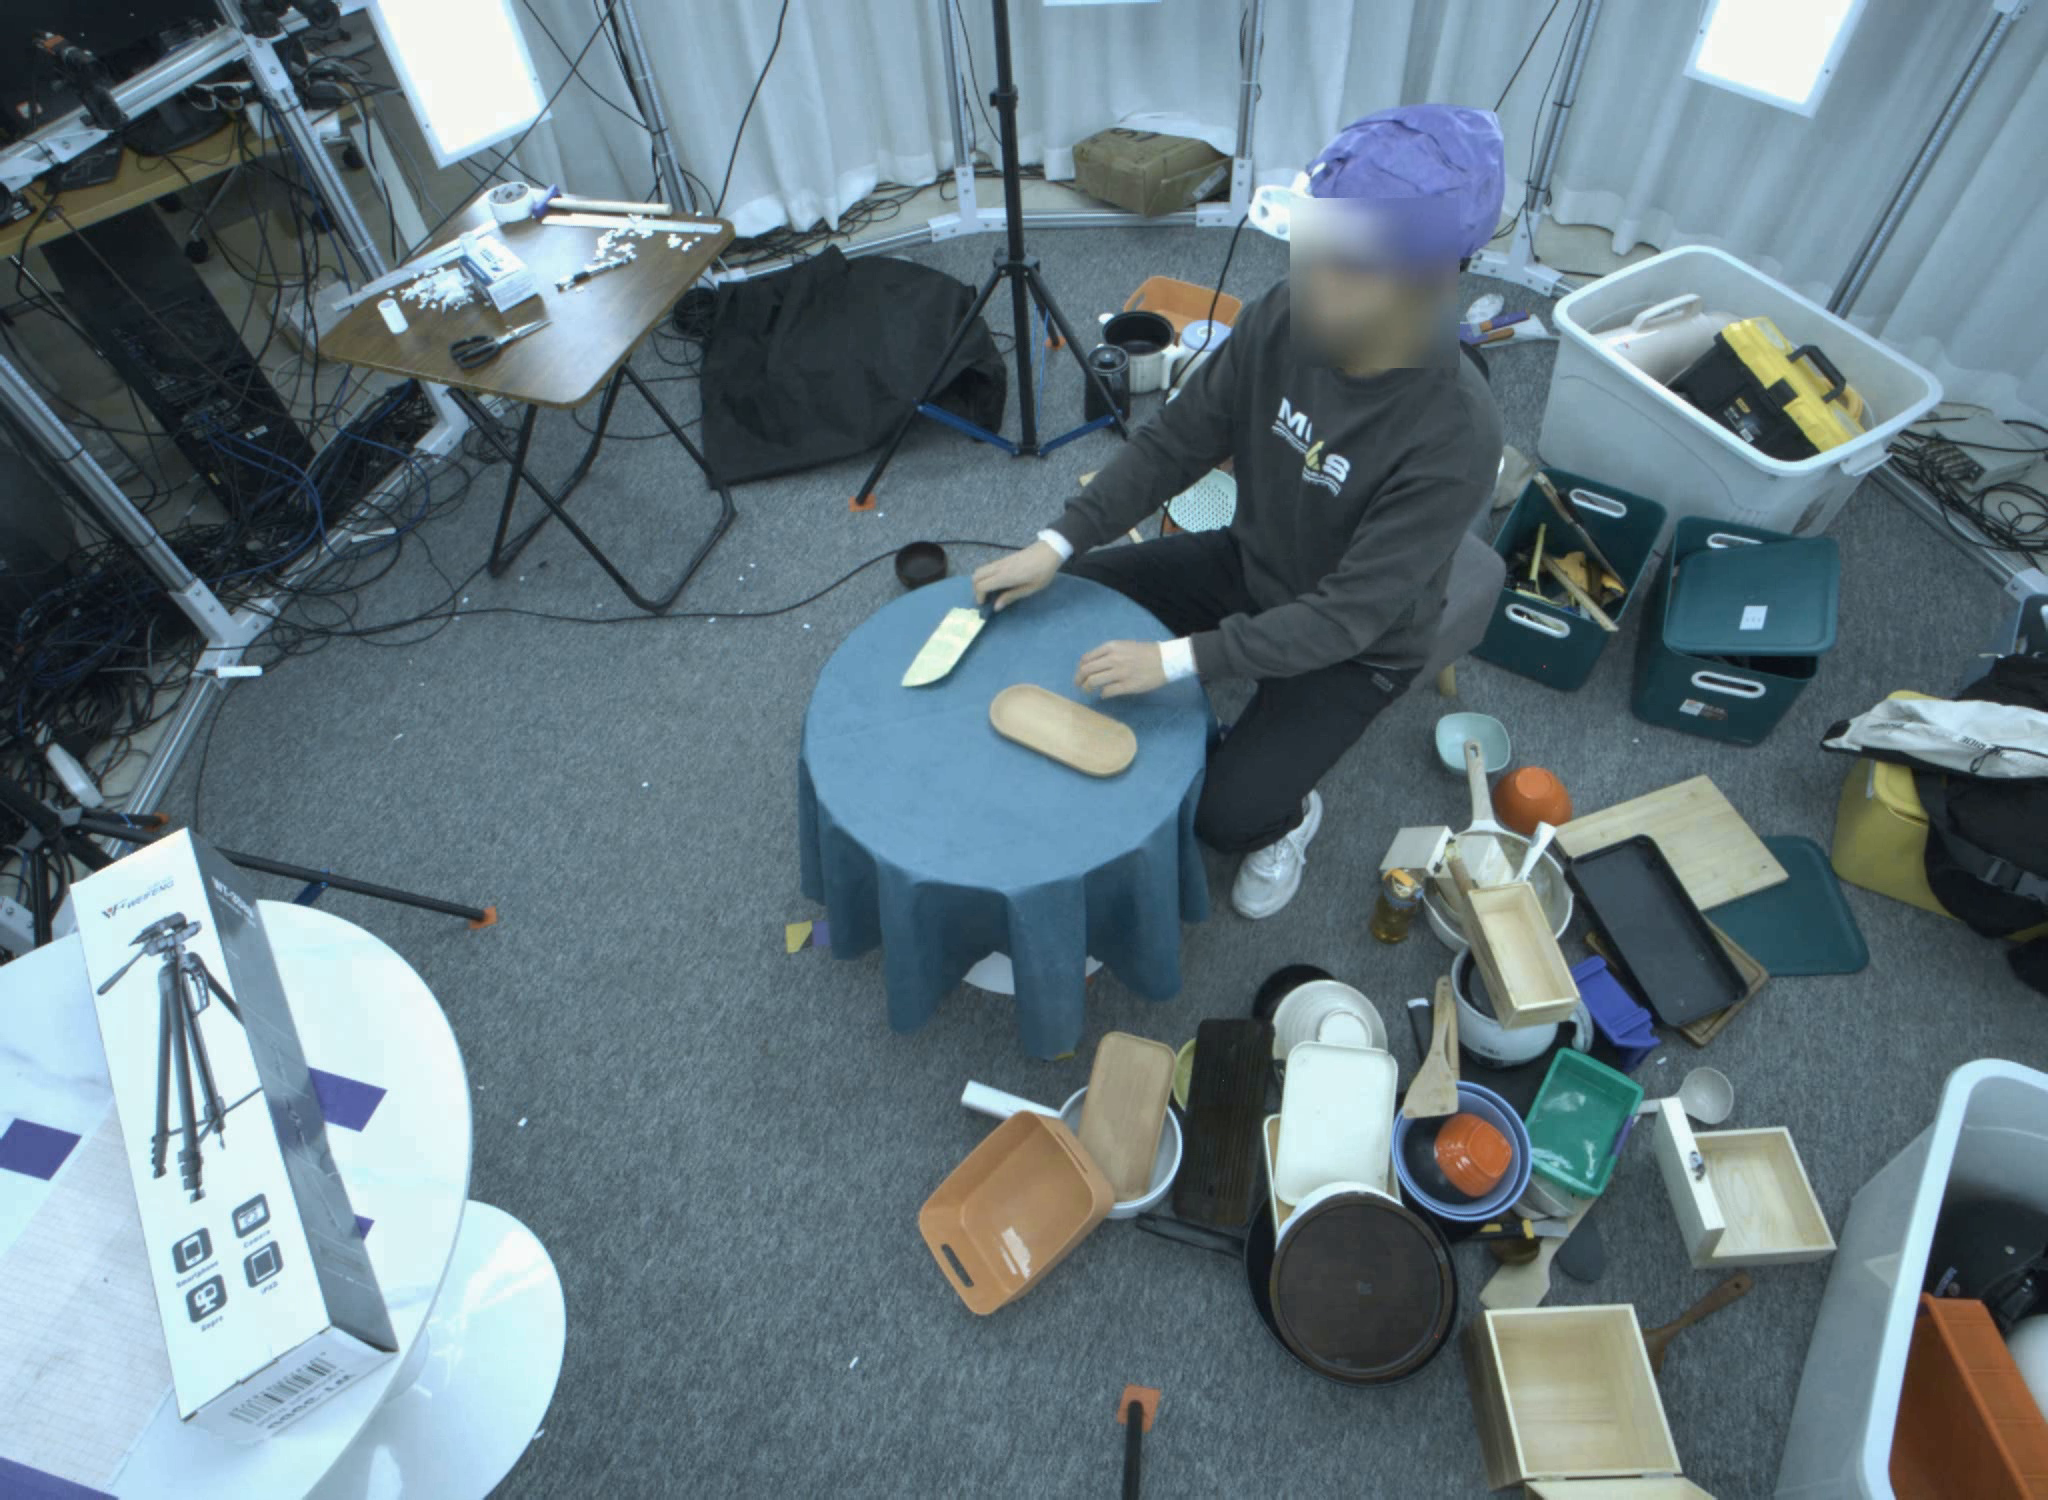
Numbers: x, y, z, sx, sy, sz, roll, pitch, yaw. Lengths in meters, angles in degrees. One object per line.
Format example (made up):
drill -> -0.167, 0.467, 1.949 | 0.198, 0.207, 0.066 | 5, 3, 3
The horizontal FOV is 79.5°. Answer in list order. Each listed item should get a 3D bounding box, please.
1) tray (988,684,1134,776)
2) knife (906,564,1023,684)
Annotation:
tray -> 0.053, -0.030, 1.805 | 0.228, 0.020, 0.102 | 23, 57, 19
knife -> -0.093, -0.199, 1.928 | 0.079, 0.027, 0.290 | 19, 55, 30
